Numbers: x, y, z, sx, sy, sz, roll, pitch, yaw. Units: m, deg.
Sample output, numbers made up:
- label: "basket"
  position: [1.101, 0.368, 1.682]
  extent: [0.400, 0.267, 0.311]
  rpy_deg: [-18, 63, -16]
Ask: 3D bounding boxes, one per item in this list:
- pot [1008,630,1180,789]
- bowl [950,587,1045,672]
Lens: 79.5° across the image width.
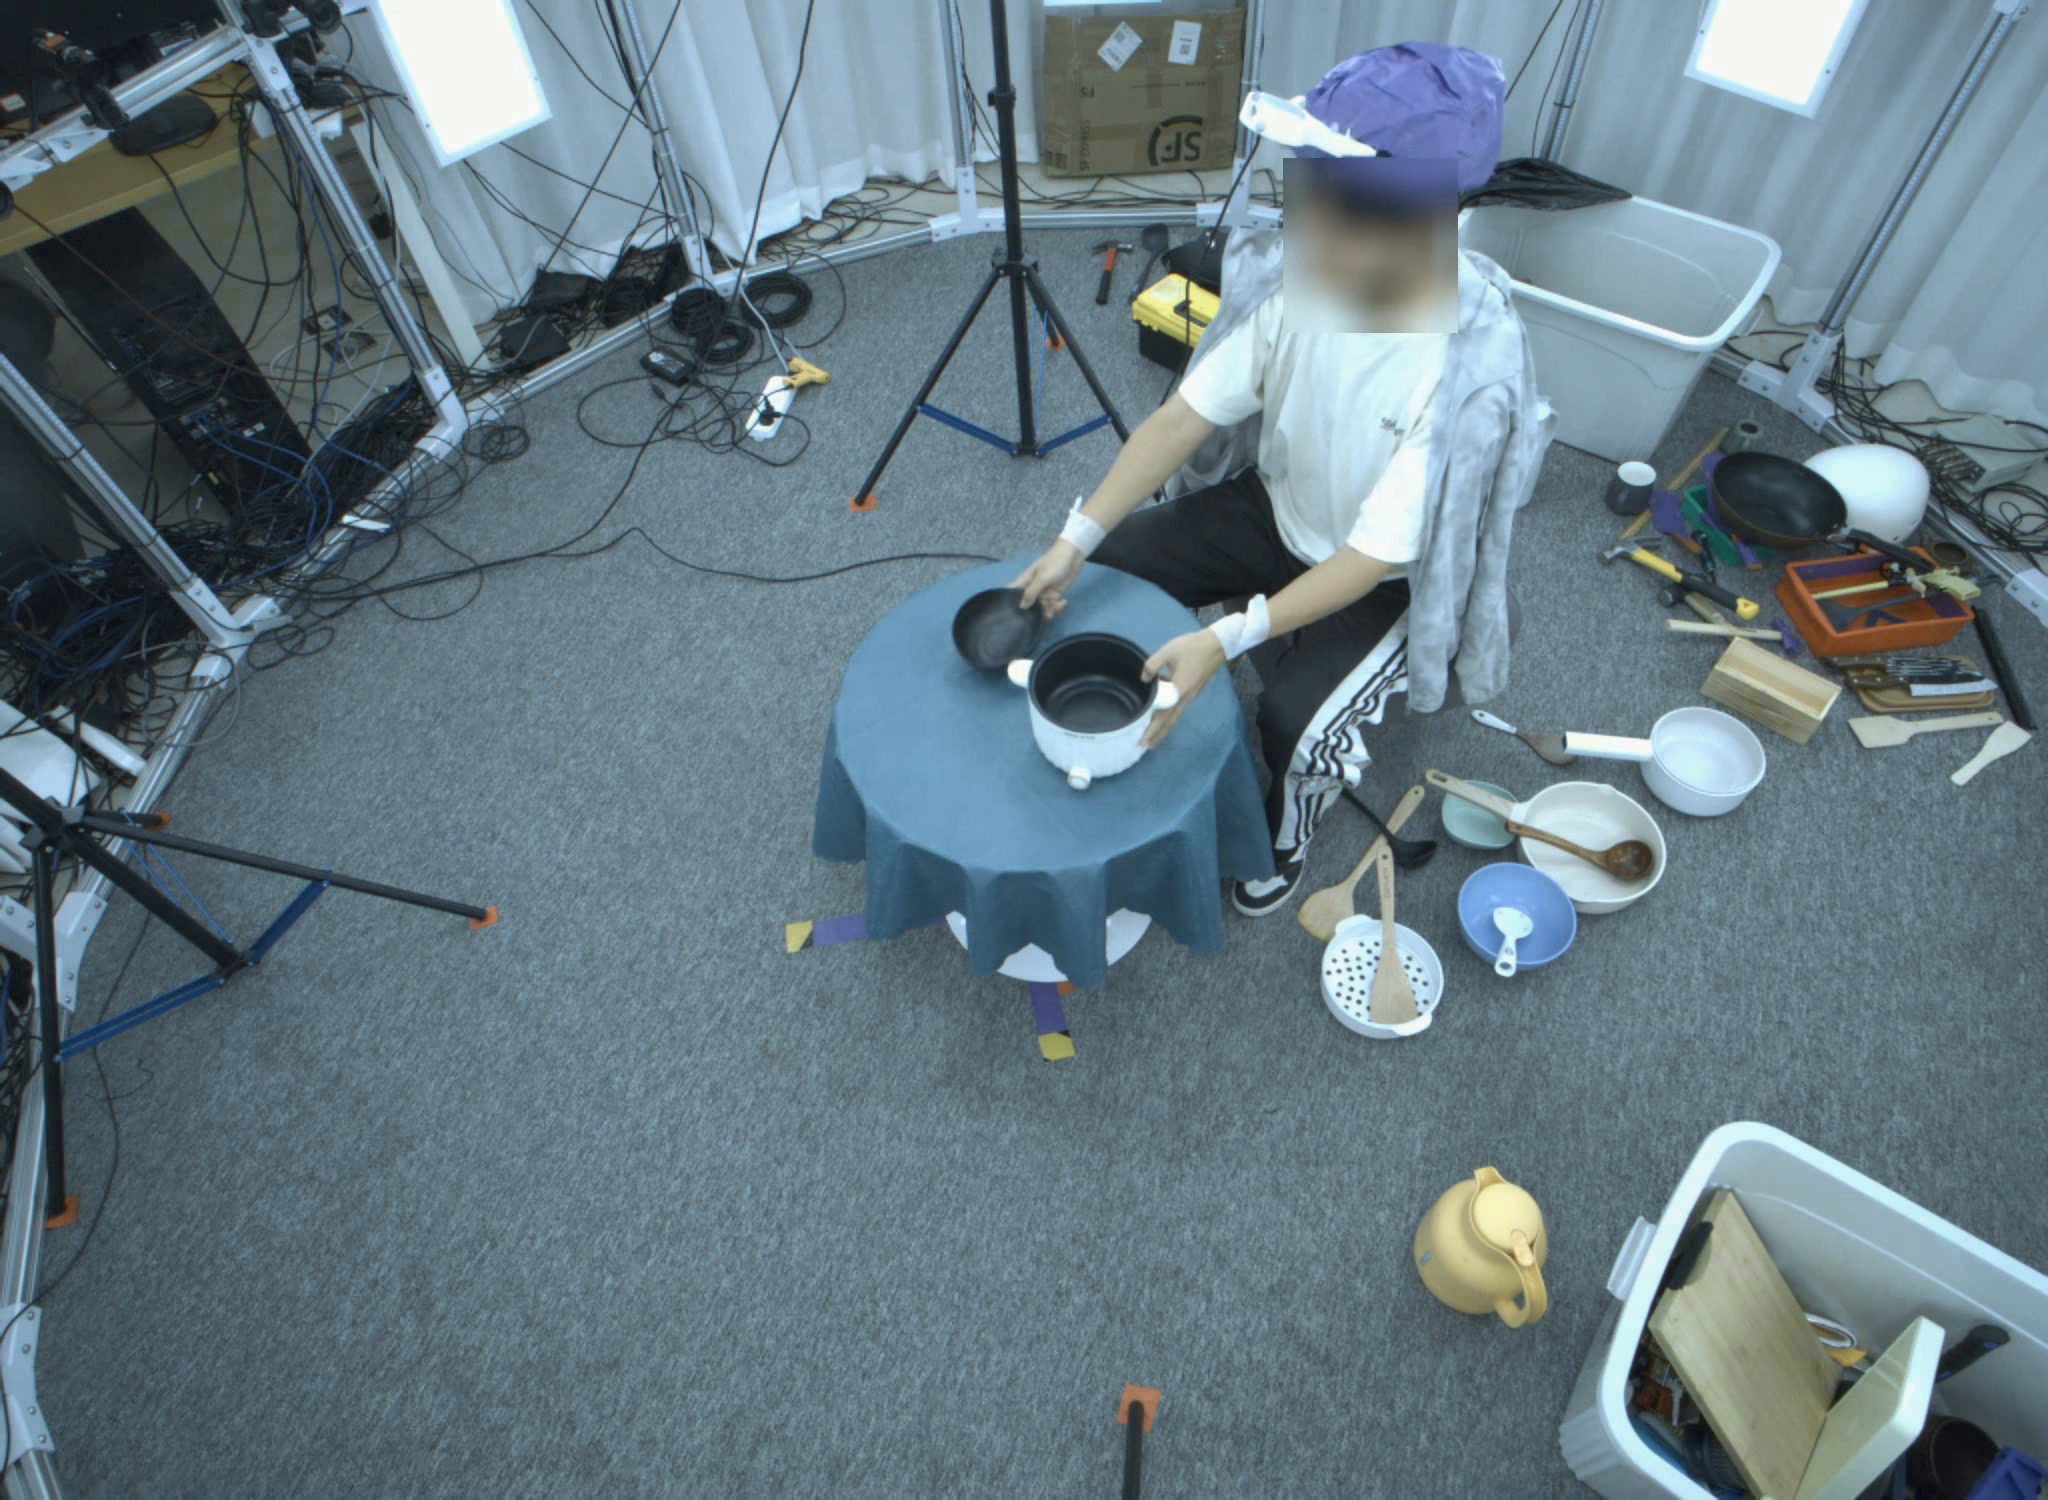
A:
- label: "pot"
  position: [0.098, -0.053, 1.739]
  extent: [0.239, 0.144, 0.189]
  rpy_deg: [9, 52, 10]
- label: "bowl"
  position: [-0.039, -0.176, 1.875]
  extent: [0.136, 0.067, 0.170]
  rpy_deg: [17, 57, 12]
